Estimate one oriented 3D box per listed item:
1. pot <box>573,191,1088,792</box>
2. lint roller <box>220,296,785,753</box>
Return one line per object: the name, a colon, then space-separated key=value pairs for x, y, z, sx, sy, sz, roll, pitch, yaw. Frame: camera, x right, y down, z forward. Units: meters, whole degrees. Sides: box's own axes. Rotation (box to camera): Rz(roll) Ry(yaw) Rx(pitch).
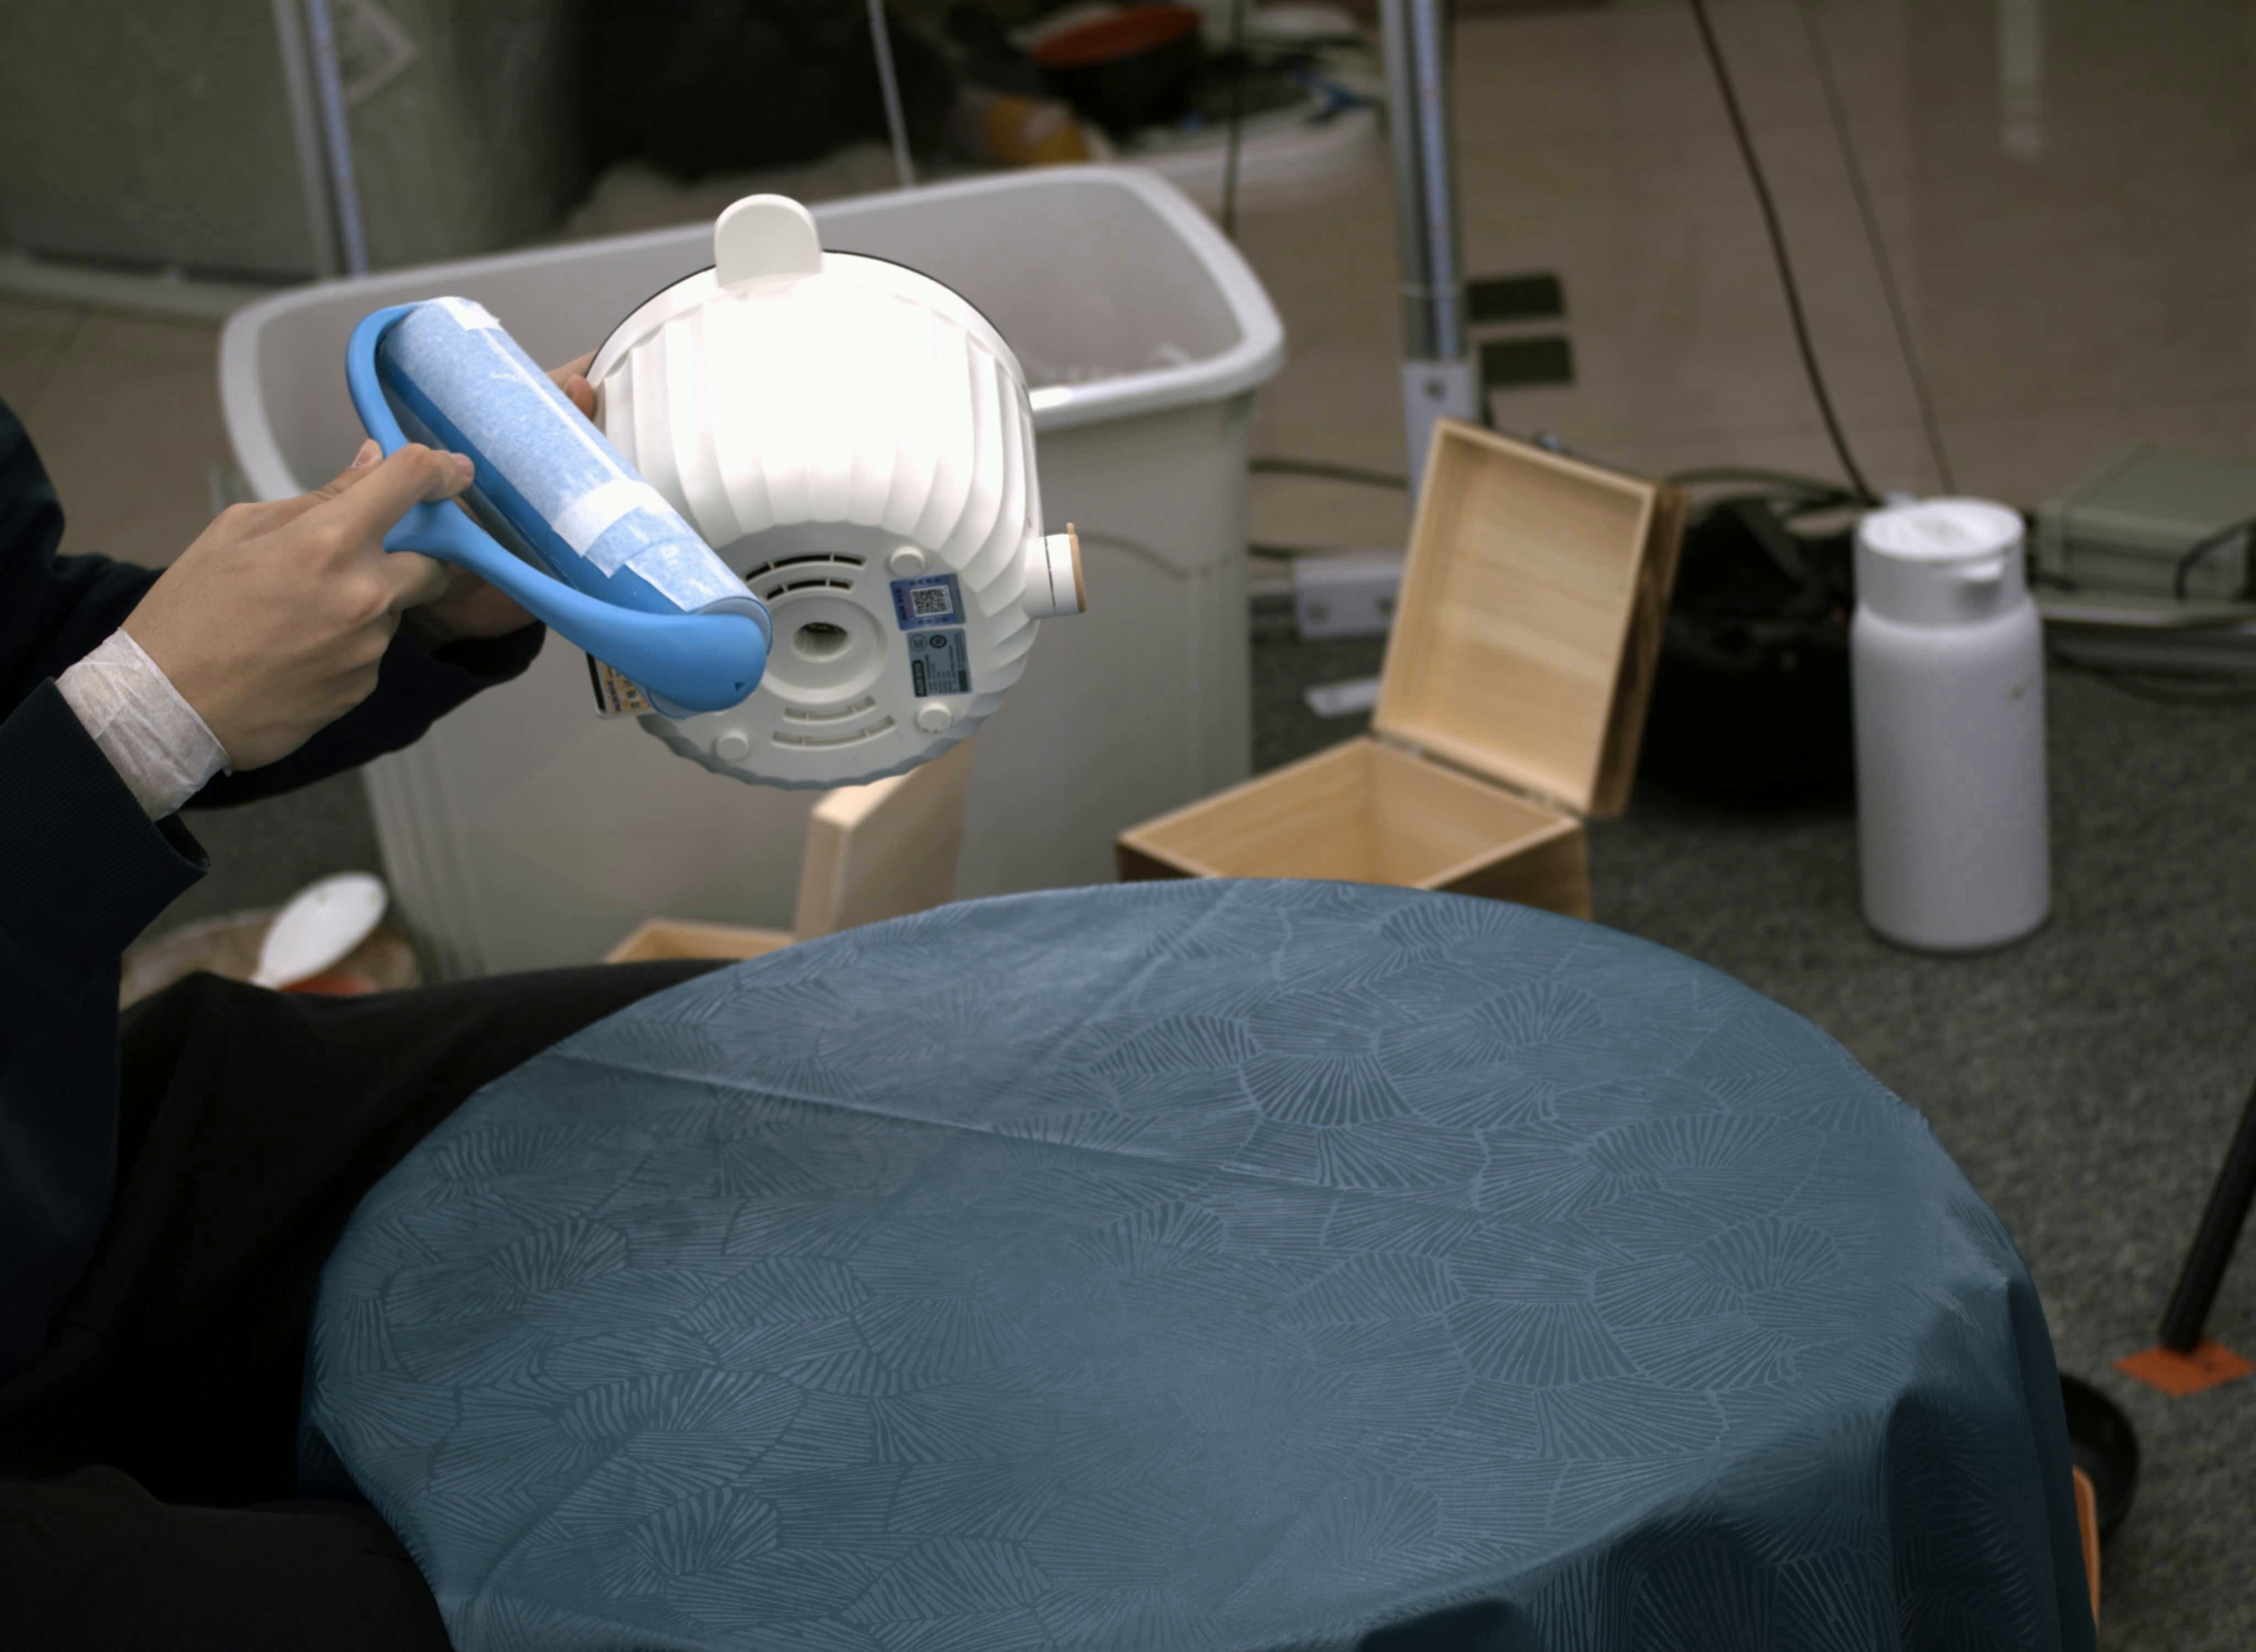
pot: x=-0.116 y=-0.108 z=2.157 sx=0.190 sy=0.245 sz=0.140 roll=-9 pitch=45 yaw=-2
lint roller: x=-0.245 y=-0.090 z=2.010 sx=0.179 sy=0.069 sz=0.226 roll=-32 pitch=58 yaw=-23
